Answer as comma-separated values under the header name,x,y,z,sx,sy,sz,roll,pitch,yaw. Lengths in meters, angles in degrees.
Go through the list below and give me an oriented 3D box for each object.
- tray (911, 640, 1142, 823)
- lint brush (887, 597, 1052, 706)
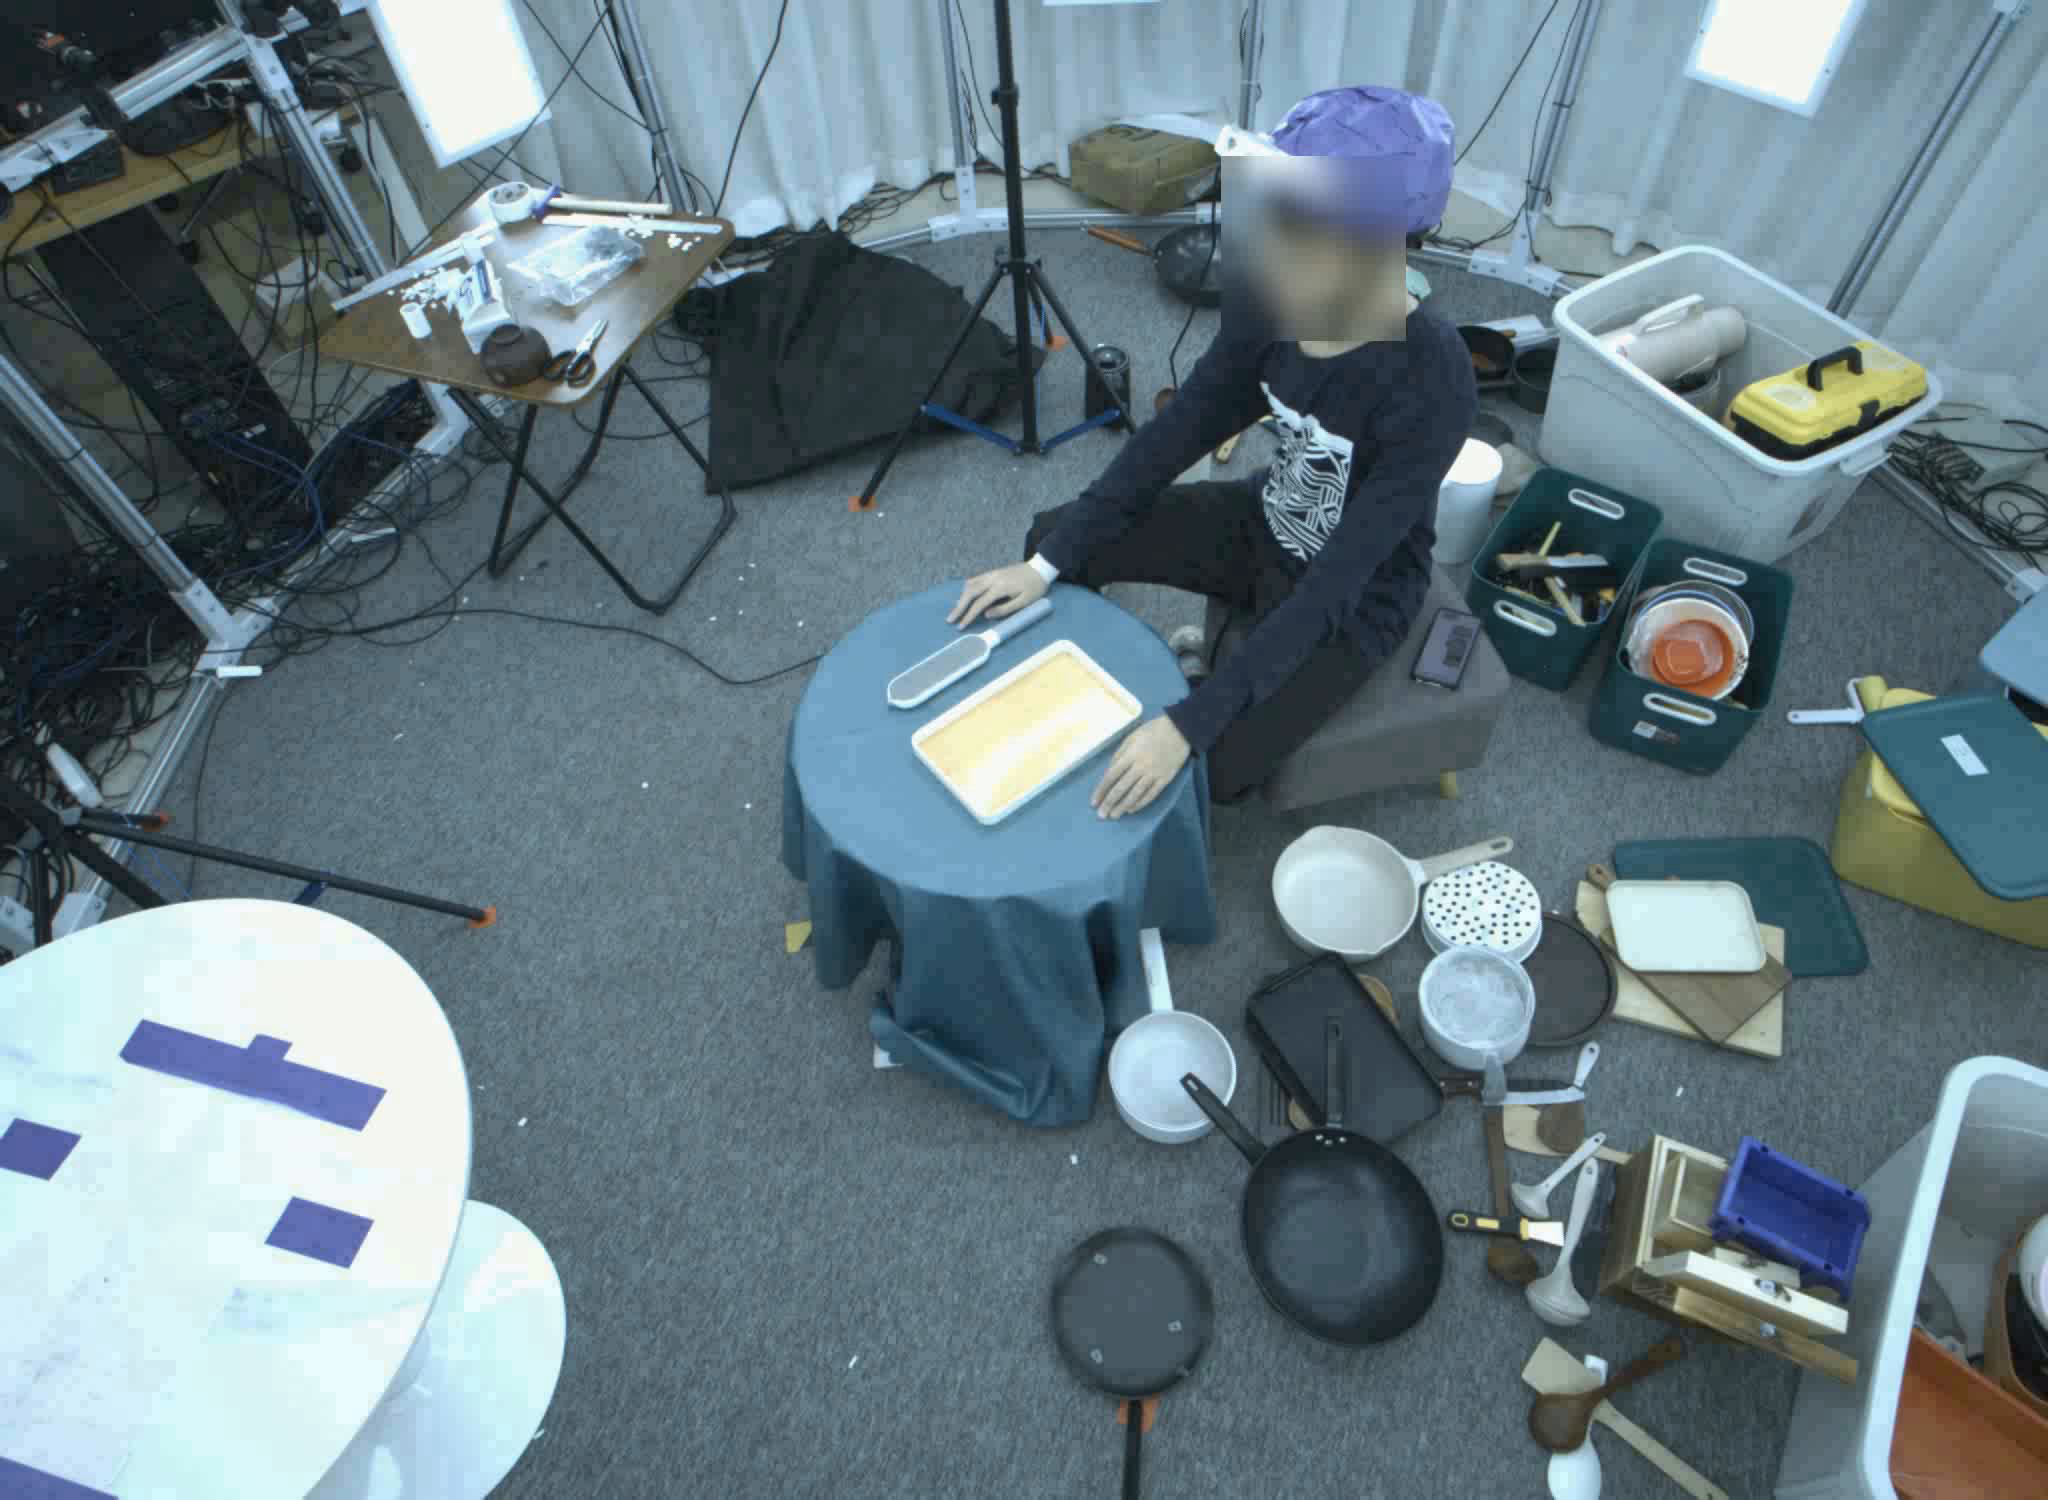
name,x,y,z,sx,sy,sz,roll,pitch,yaw
tray,0.004,-0.032,1.802,0.303,0.028,0.188,-33,60,-21
lint brush,-0.079,-0.155,1.892,0.311,0.021,0.059,-34,54,-21
